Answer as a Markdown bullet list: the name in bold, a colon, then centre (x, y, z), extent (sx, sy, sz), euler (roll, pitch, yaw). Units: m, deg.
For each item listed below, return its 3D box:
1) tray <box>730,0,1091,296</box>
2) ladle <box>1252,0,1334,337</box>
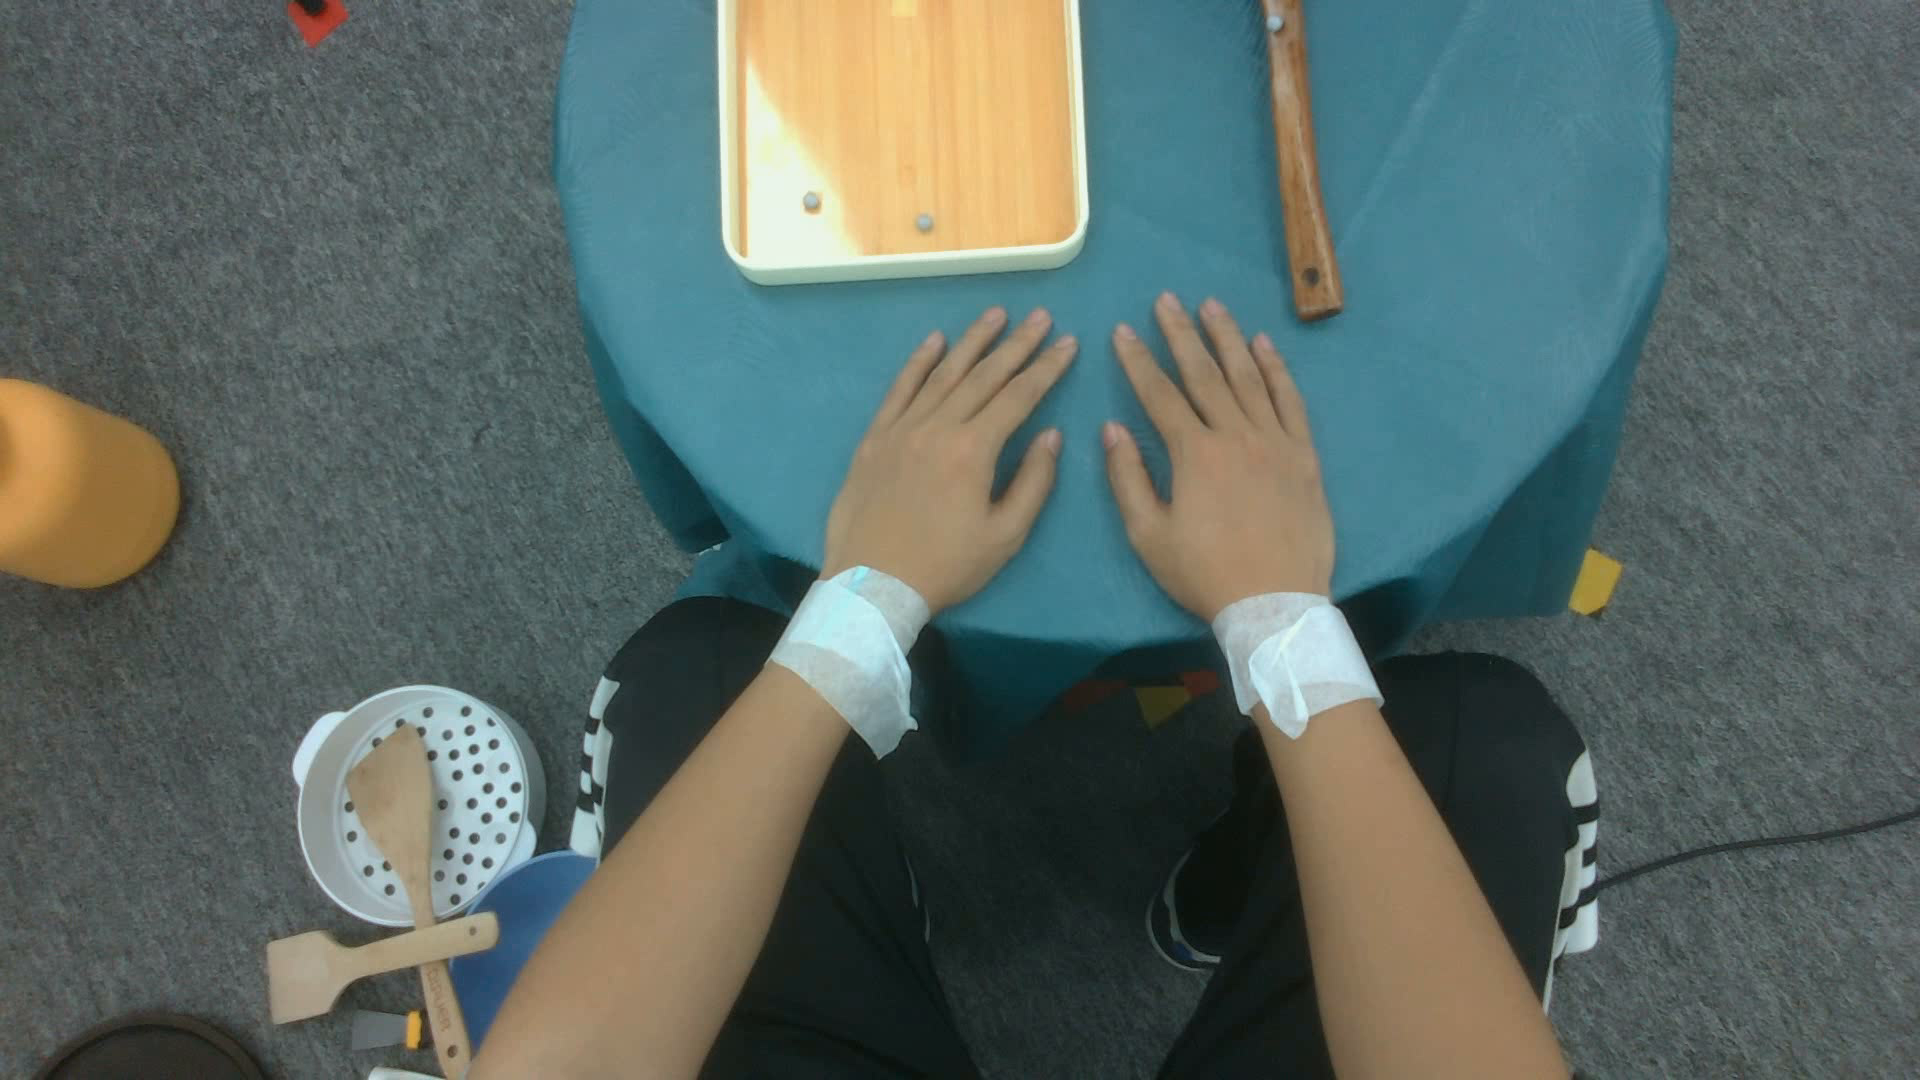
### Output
- **tray**: centre (-0.030, -0.284, 0.763), extent (0.191, 0.027, 0.301), euler (-3, 78, 3)
- **ladle**: centre (0.160, -0.246, 0.721), extent (0.081, 0.077, 0.274), euler (-13, 75, 41)
